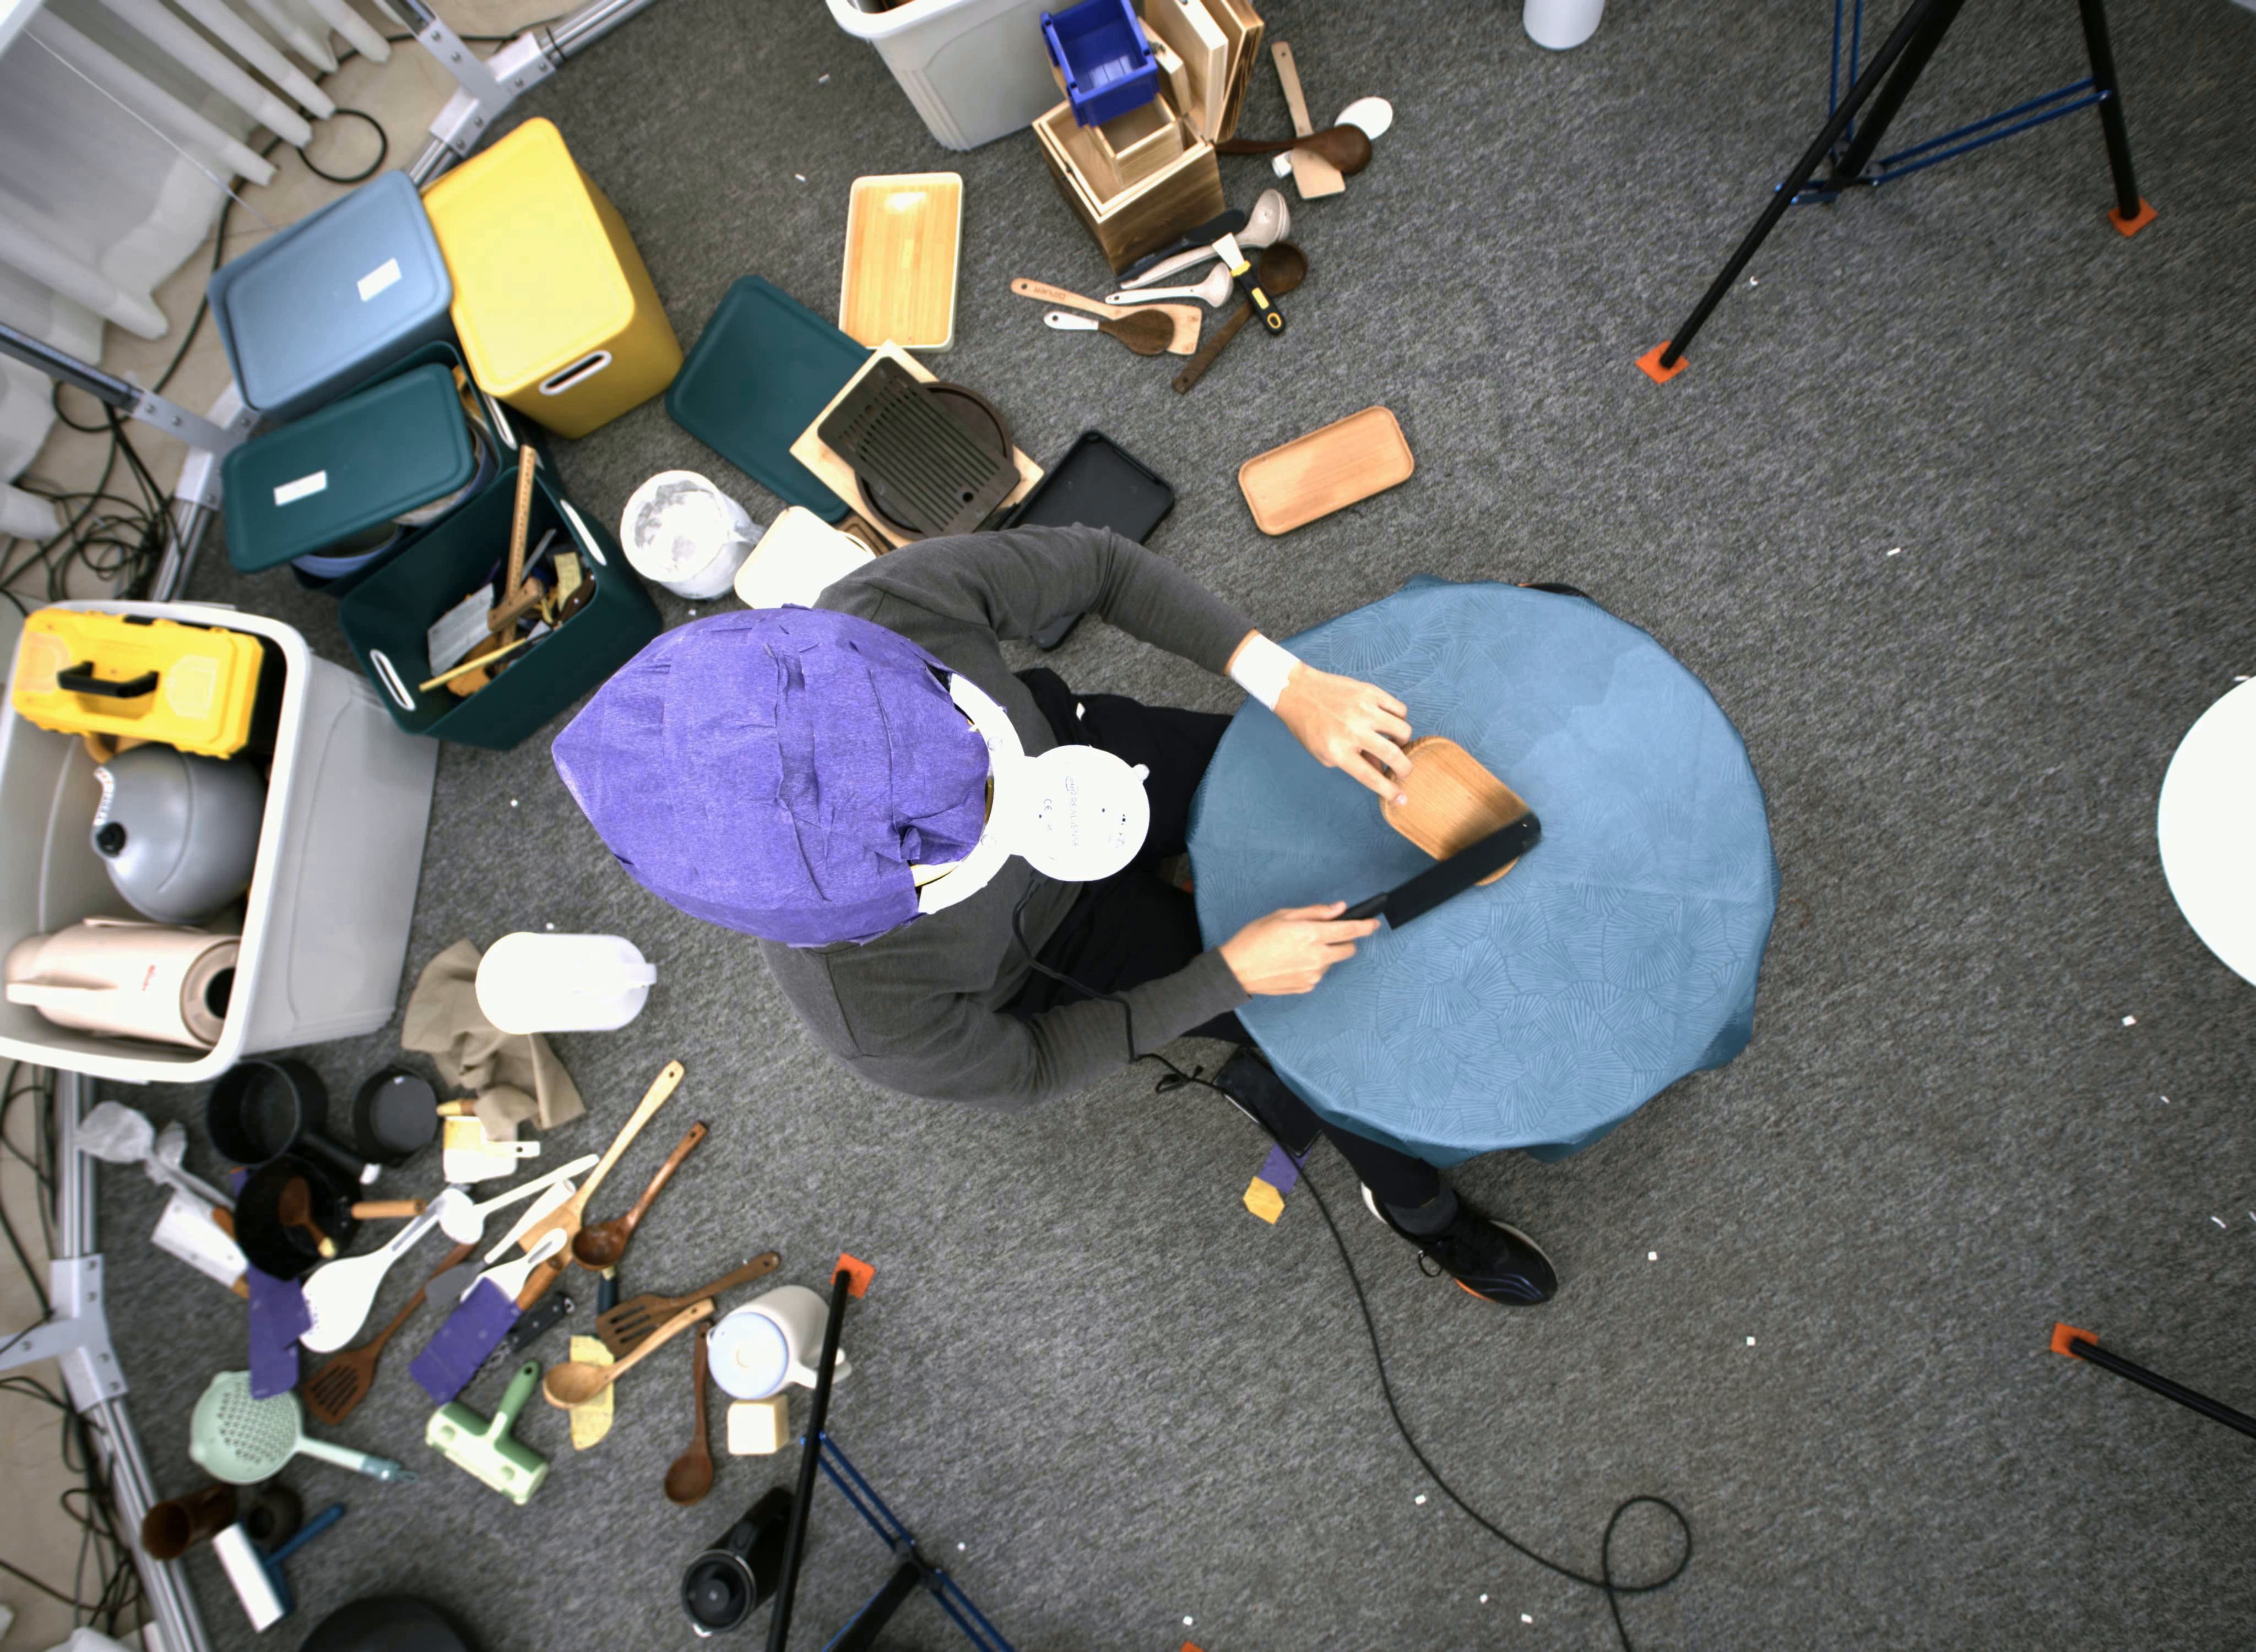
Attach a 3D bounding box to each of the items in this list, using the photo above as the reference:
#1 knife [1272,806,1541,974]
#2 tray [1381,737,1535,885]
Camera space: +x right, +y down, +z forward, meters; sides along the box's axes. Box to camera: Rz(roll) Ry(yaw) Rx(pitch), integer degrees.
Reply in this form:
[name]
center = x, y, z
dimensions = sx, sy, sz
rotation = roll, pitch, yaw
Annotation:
[knife]
center = 0.279, 0.068, 1.385
dimensions = 0.303, 0.082, 0.020
rotation = -28, 48, 4
[tray]
center = 0.329, -0.015, 1.364
dimensions = 0.102, 0.232, 0.020
rotation = -55, 41, 7
